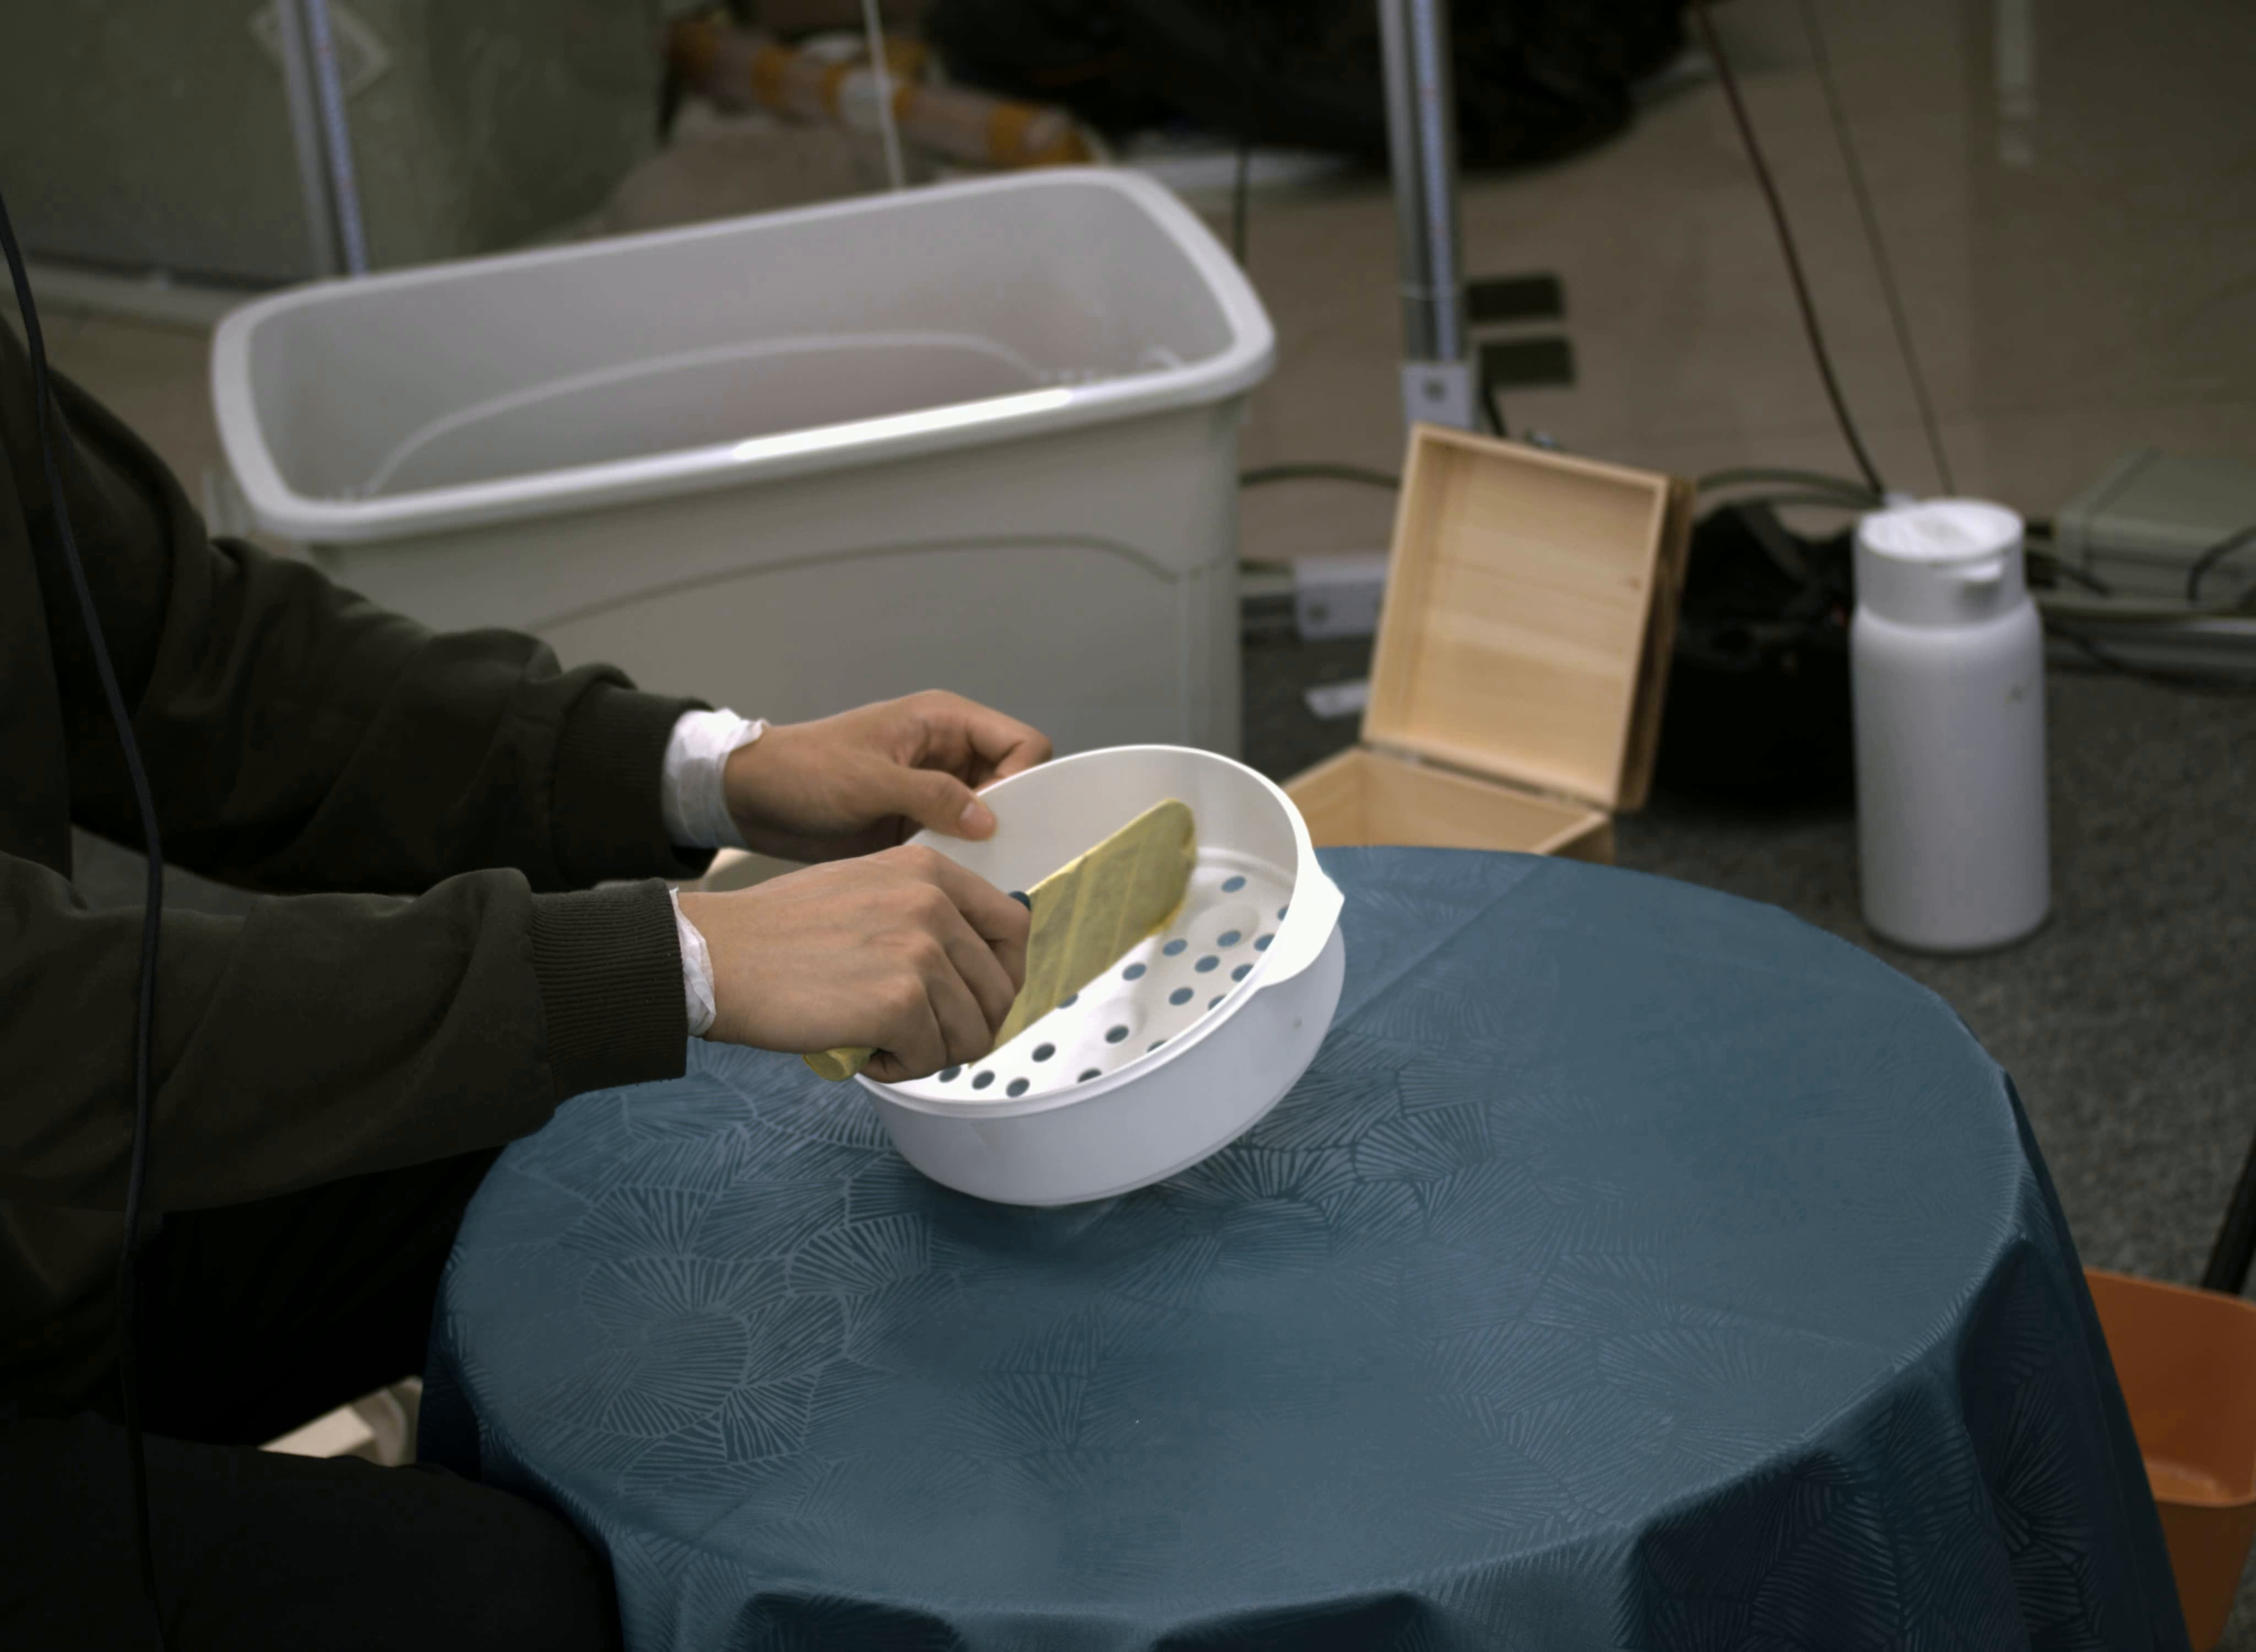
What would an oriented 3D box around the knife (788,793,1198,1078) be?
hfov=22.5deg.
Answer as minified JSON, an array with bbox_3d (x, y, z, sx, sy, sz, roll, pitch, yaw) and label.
[{"bbox_3d":[-0.044,0.050,2.115,0.027,0.082,0.287,25,27,22],"label":"knife"}]

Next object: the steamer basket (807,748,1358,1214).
[{"bbox_3d":[-0.010,0.060,2.183,0.230,0.070,0.198,-3,43,29],"label":"steamer basket"}]
